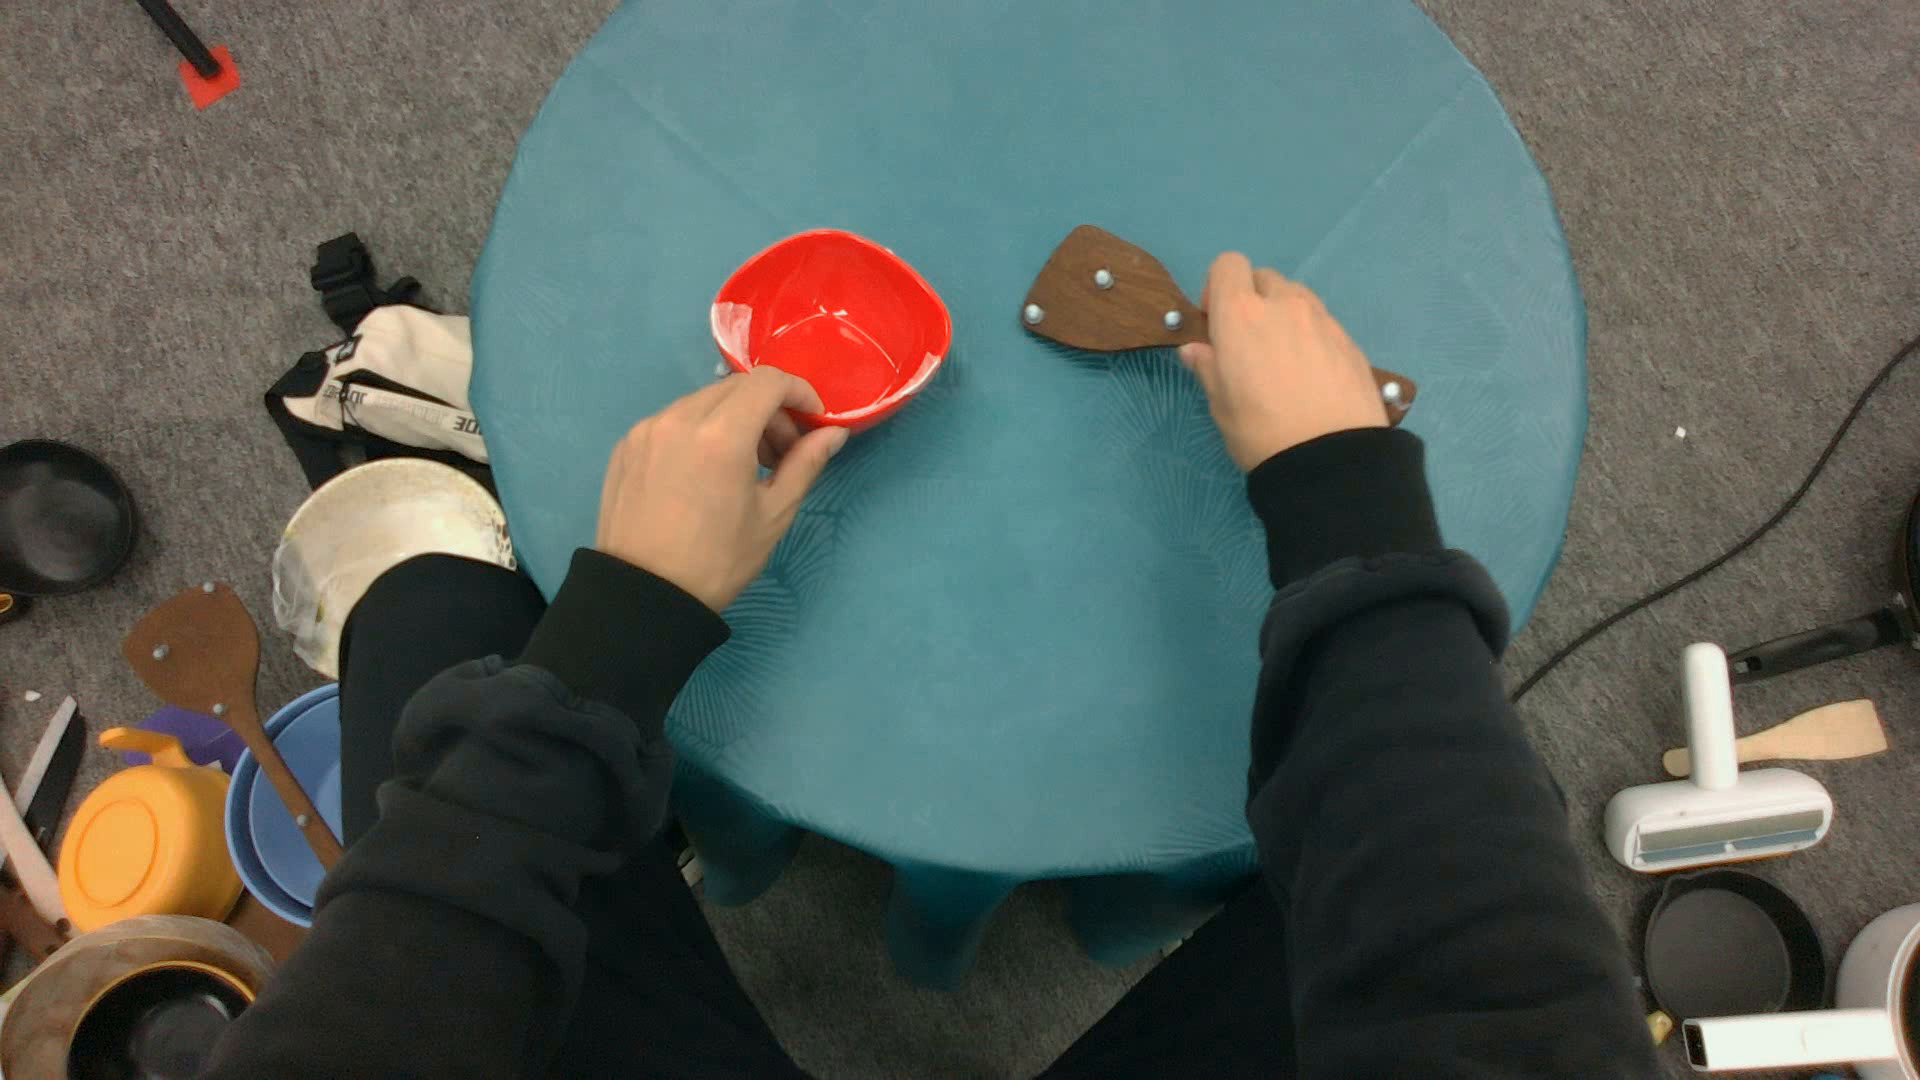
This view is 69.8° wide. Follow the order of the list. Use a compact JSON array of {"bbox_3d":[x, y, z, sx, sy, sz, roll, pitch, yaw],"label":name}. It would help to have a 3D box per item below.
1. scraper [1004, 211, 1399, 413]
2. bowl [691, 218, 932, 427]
[{"bbox_3d":[0.123,-0.112,0.708,0.211,0.011,0.076,26,73,26],"label":"scraper"},{"bbox_3d":[-0.076,-0.102,0.698,0.119,0.051,0.119,6,58,-9],"label":"bowl"}]
